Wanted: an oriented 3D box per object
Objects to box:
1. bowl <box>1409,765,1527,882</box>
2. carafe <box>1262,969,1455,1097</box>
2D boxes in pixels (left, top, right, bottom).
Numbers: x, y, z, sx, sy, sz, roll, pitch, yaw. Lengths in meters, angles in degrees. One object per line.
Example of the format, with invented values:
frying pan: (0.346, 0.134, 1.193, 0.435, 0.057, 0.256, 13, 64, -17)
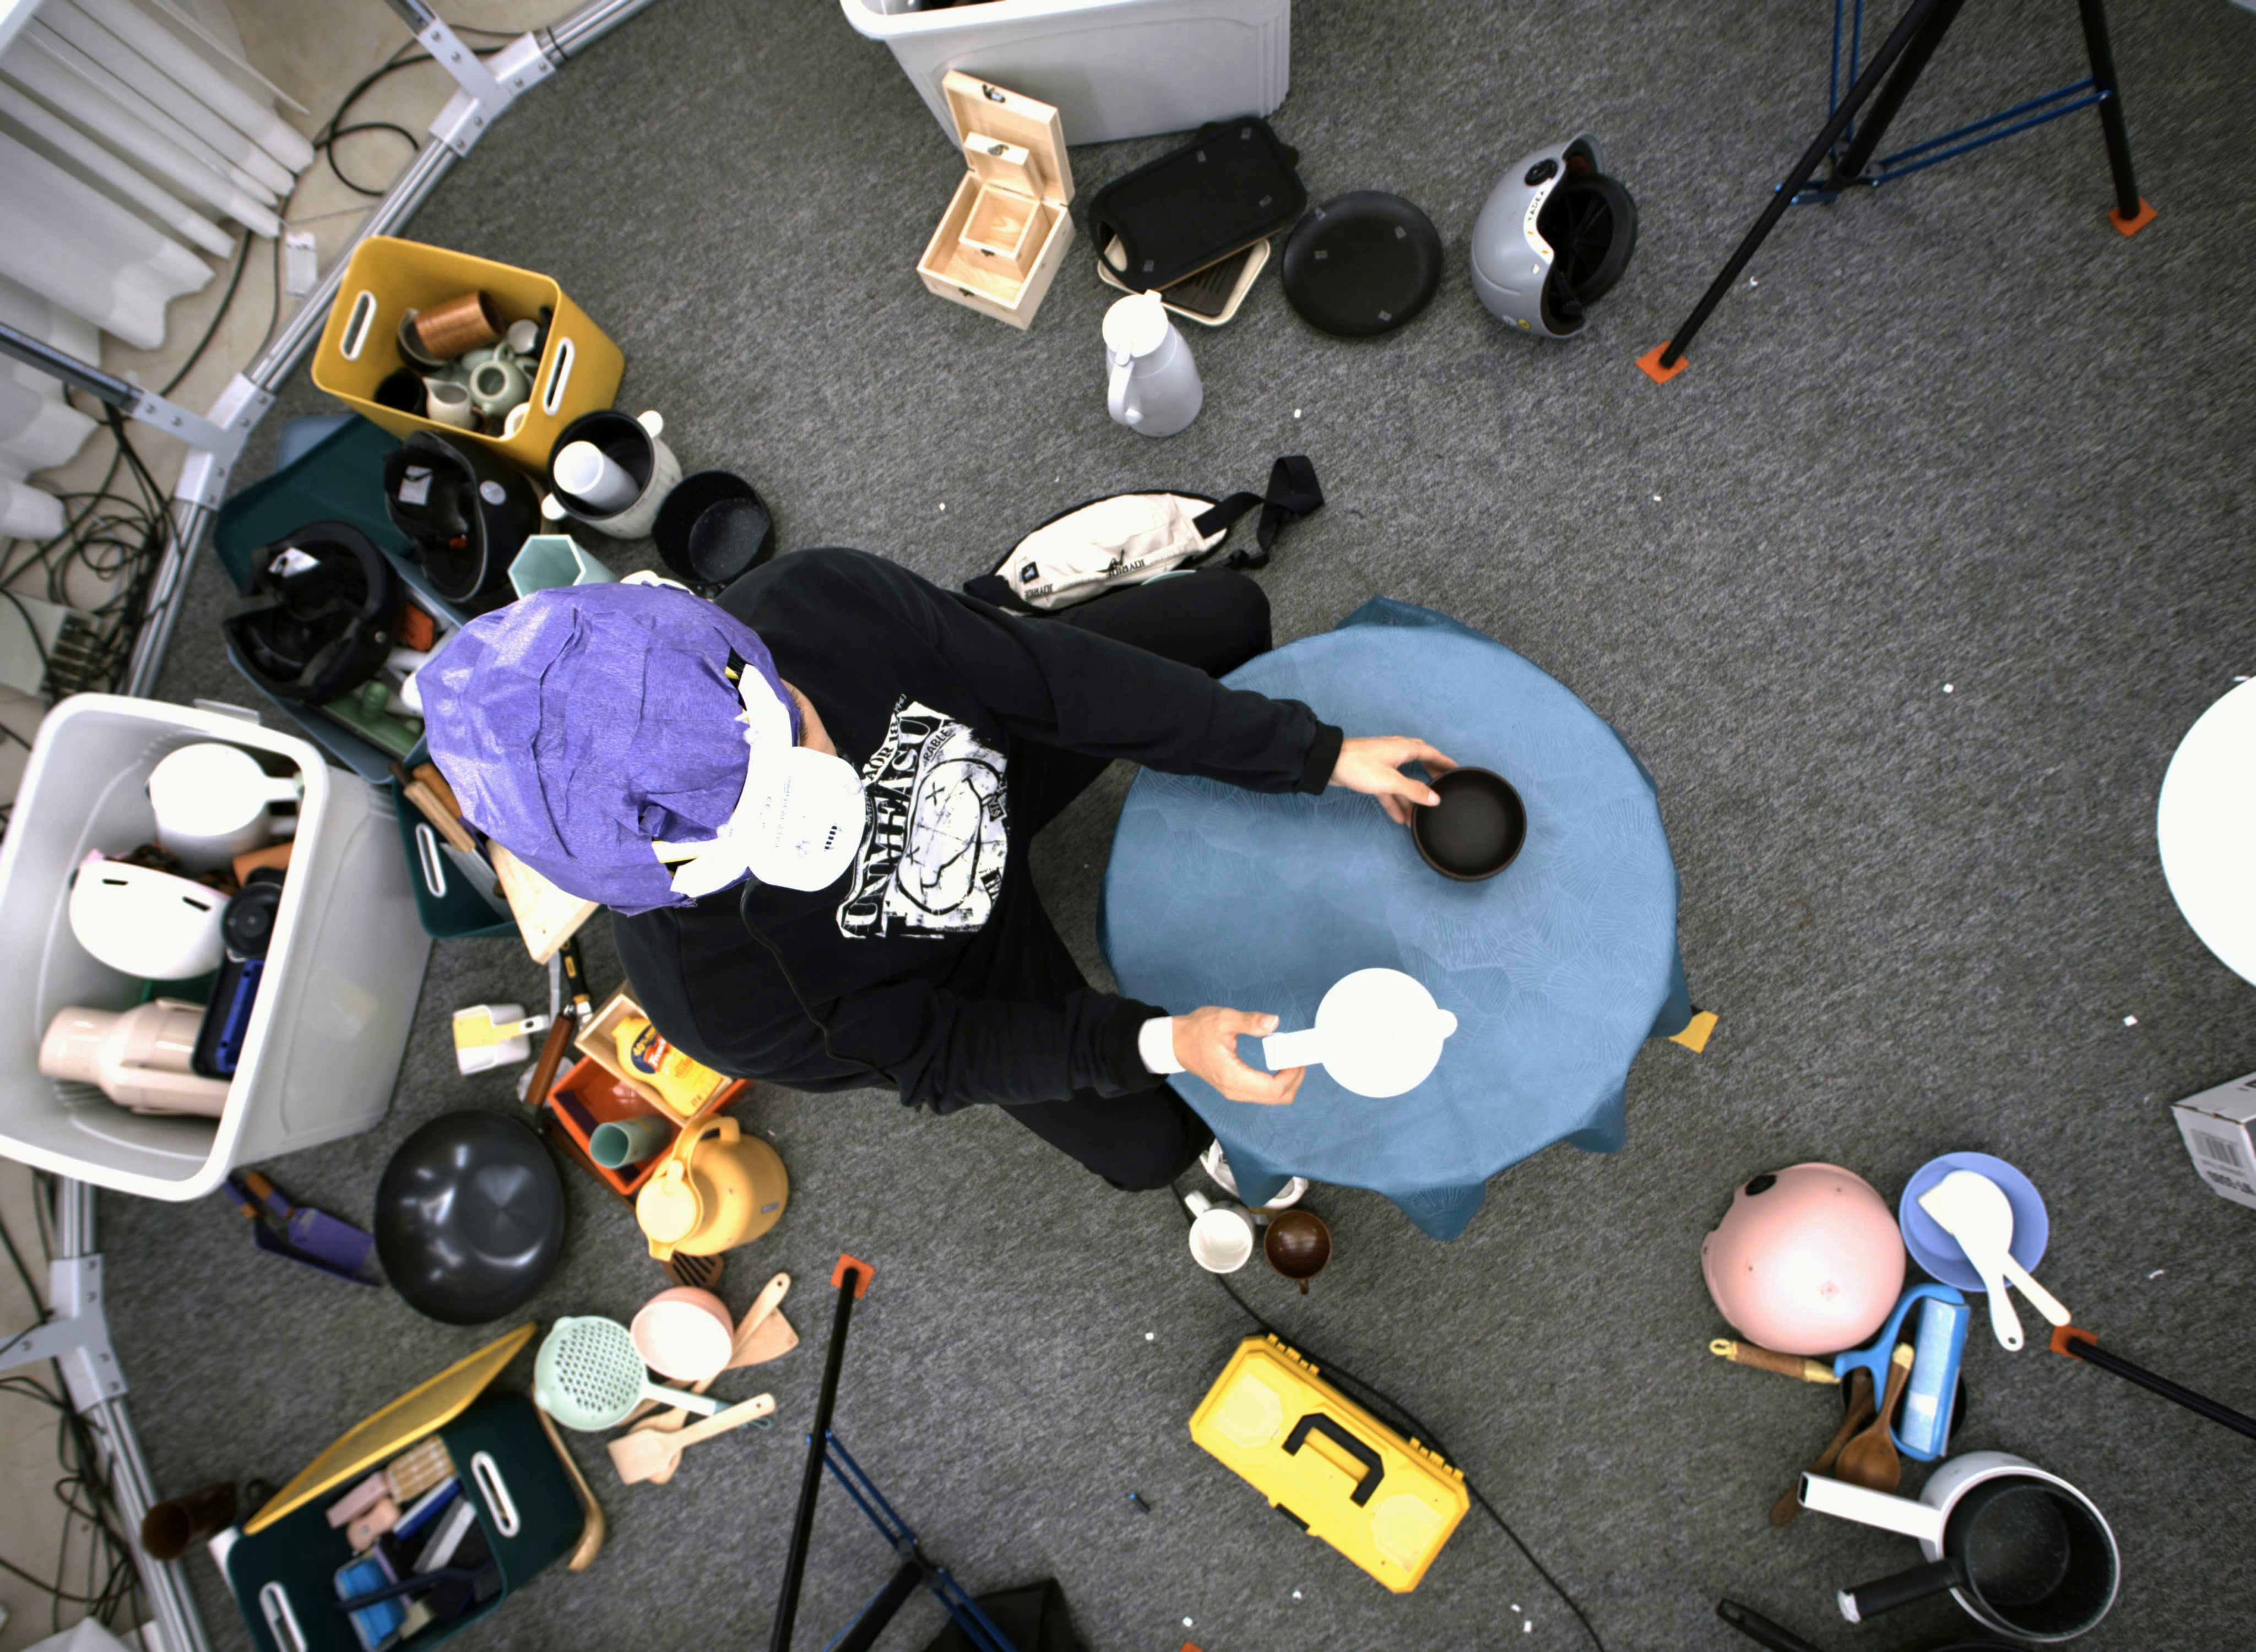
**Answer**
bowl: (0.348, -0.003, 1.412, 0.118, 0.070, 0.117, -1, 87, 11)
carafe: (0.221, 0.200, 1.329, 0.174, 0.269, 0.123, -13, 84, 9)
